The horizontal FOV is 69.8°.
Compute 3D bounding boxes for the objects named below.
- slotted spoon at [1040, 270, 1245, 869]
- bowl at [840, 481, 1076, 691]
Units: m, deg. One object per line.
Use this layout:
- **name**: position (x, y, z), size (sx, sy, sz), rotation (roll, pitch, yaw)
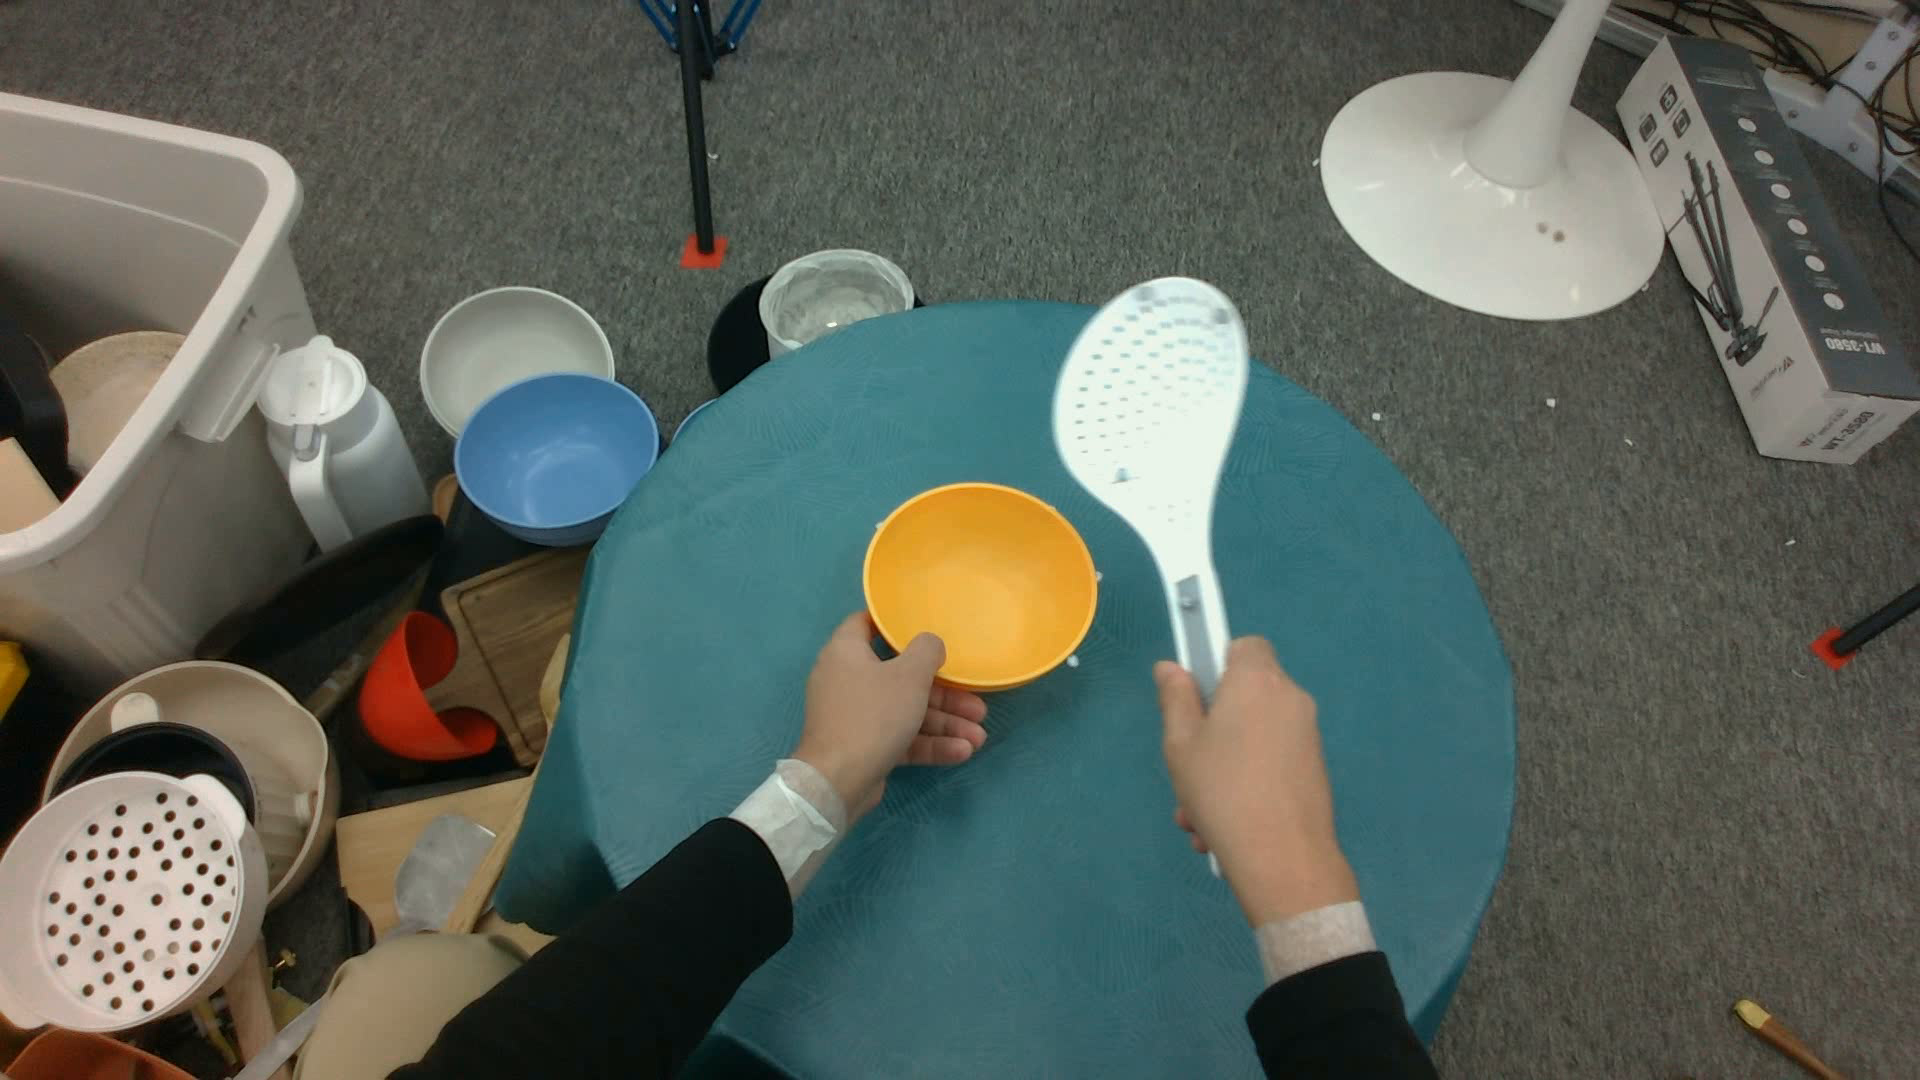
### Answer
- **slotted spoon**: position (0.112, 0.003, 0.748), size (0.046, 0.135, 0.351), rotation (28, 47, -39)
- **bowl**: position (-0.003, 0.038, 0.865), size (0.145, 0.060, 0.146), rotation (2, 59, -4)
